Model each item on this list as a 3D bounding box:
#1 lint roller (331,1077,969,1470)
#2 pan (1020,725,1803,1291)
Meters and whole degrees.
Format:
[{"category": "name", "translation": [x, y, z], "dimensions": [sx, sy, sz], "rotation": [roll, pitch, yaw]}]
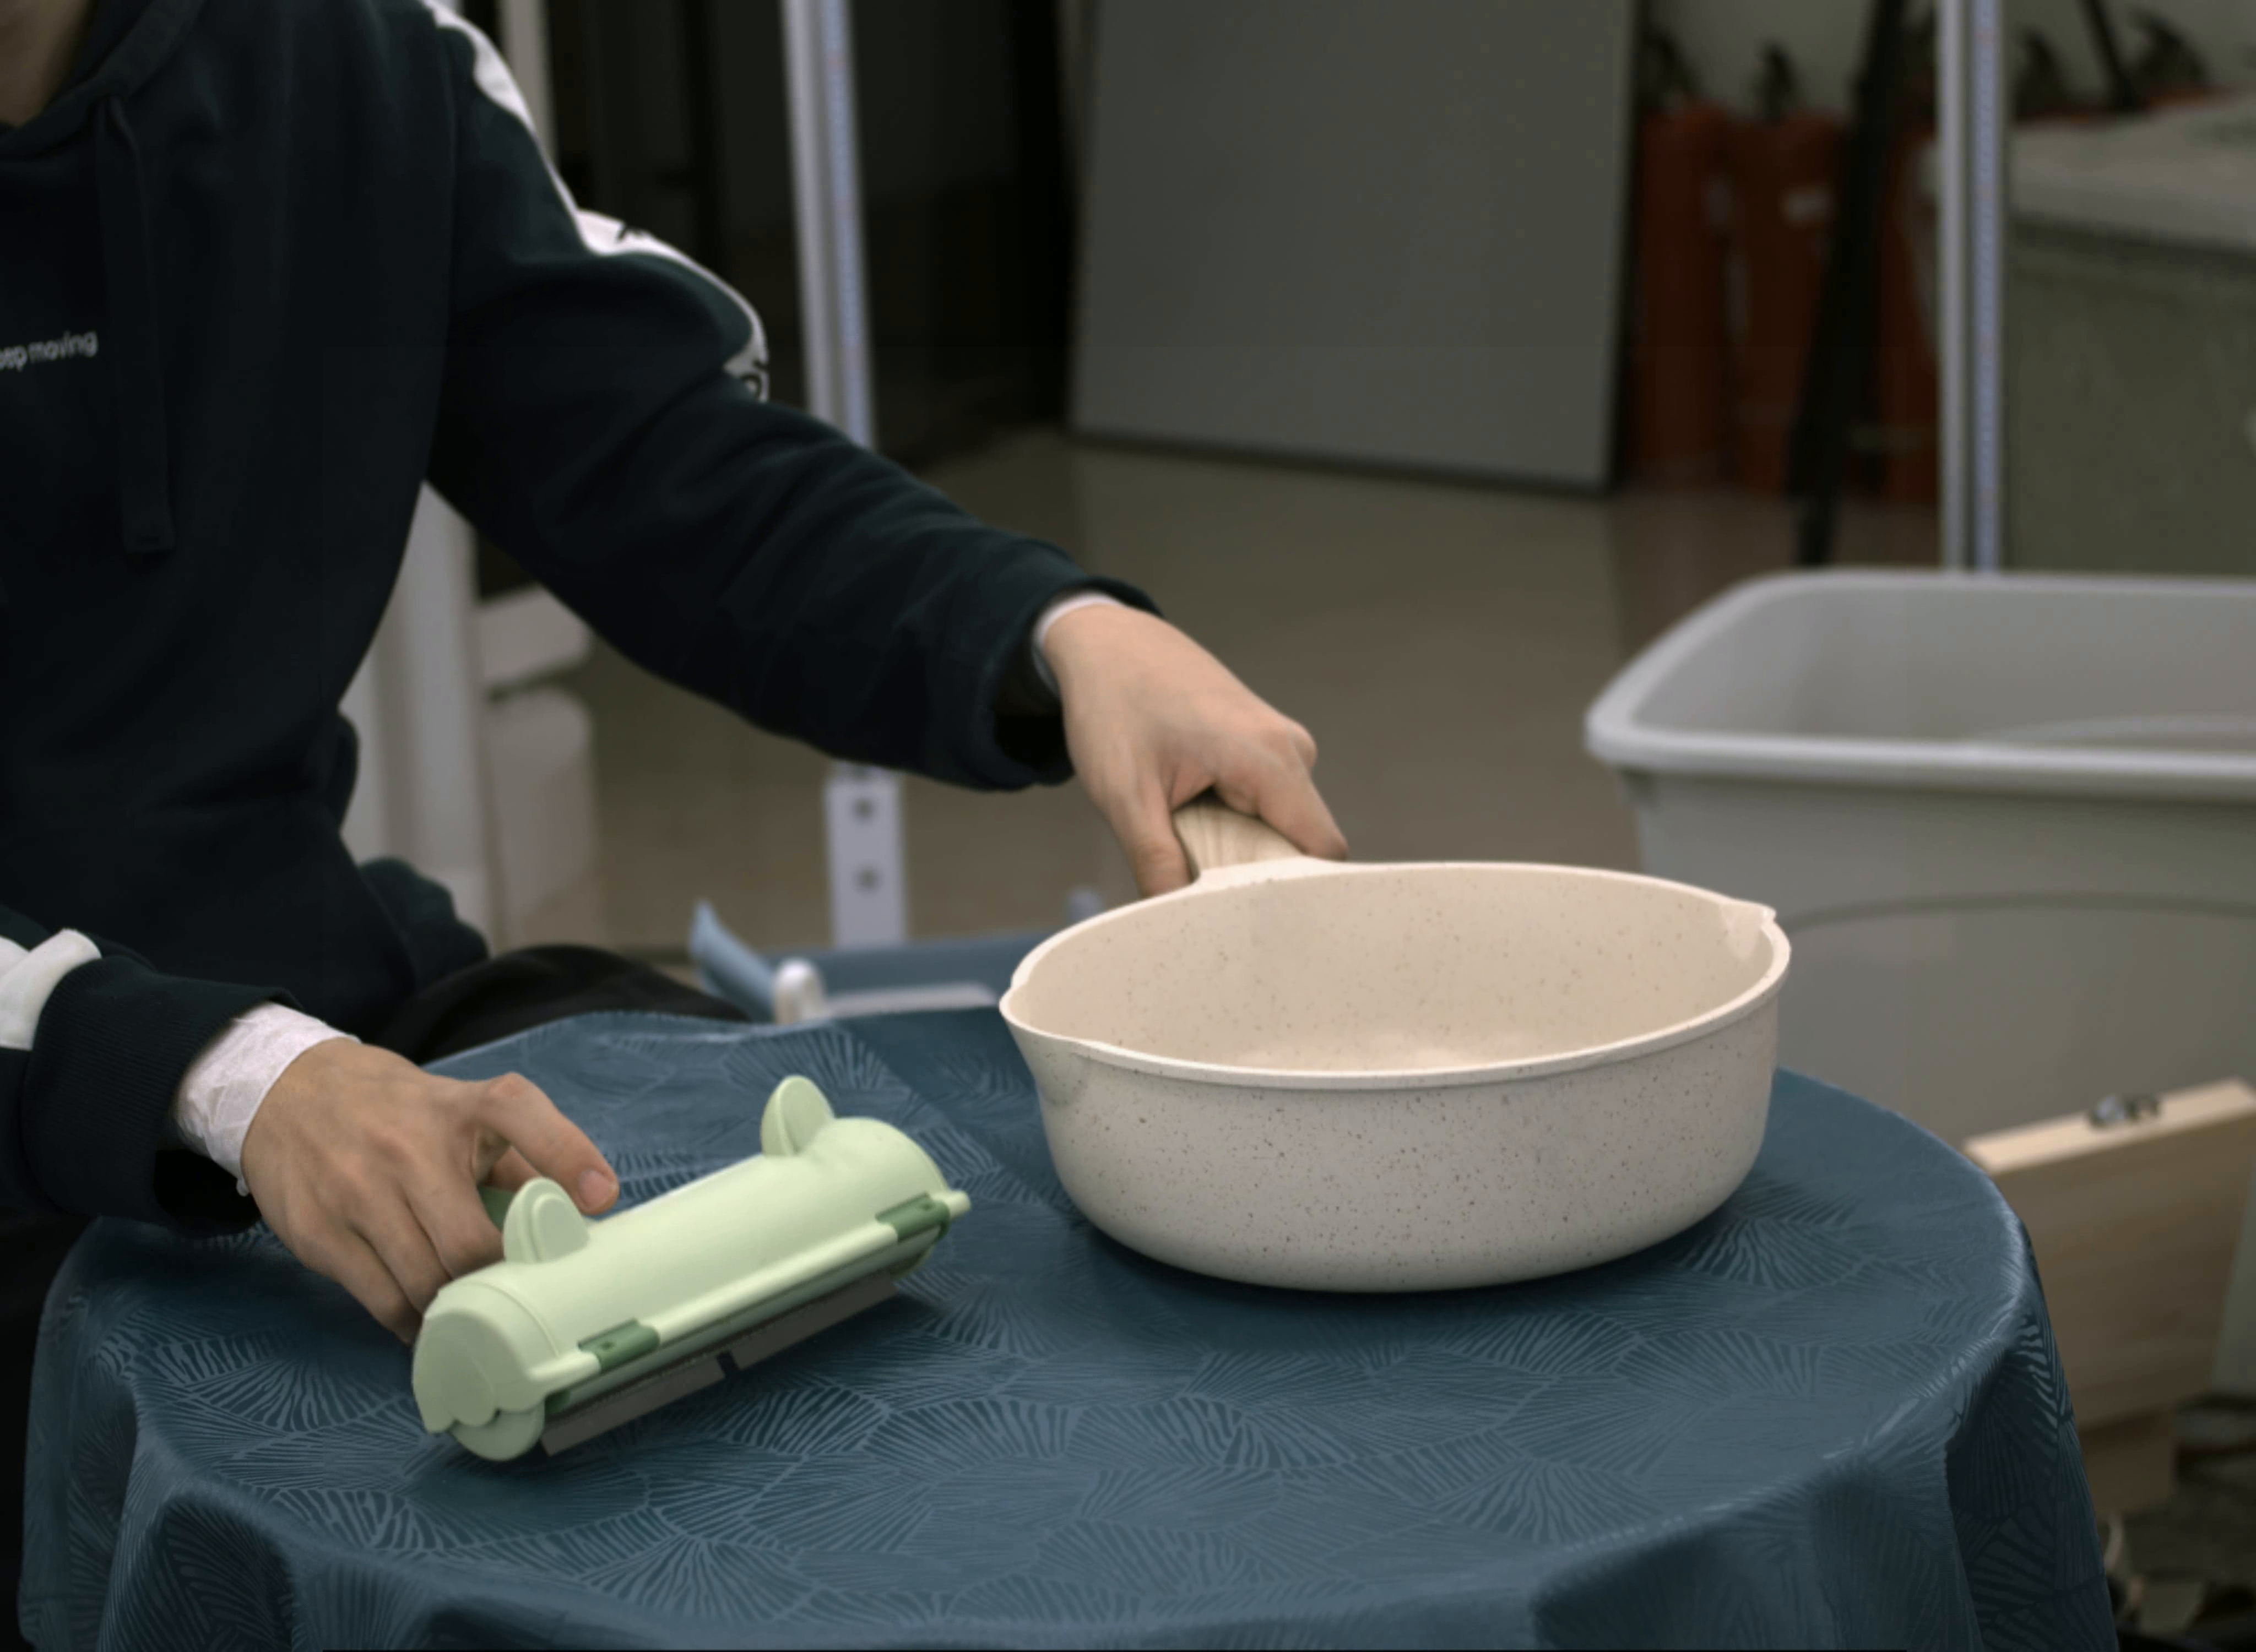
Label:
[{"category": "lint roller", "translation": [-0.174, 0.117, 1.646], "dimensions": [0.184, 0.083, 0.195], "rotation": [18, 24, 34]}, {"category": "pan", "translation": [0.064, 0.055, 1.814], "dimensions": [0.258, 0.103, 0.438], "rotation": [-10, 14, -16]}]
